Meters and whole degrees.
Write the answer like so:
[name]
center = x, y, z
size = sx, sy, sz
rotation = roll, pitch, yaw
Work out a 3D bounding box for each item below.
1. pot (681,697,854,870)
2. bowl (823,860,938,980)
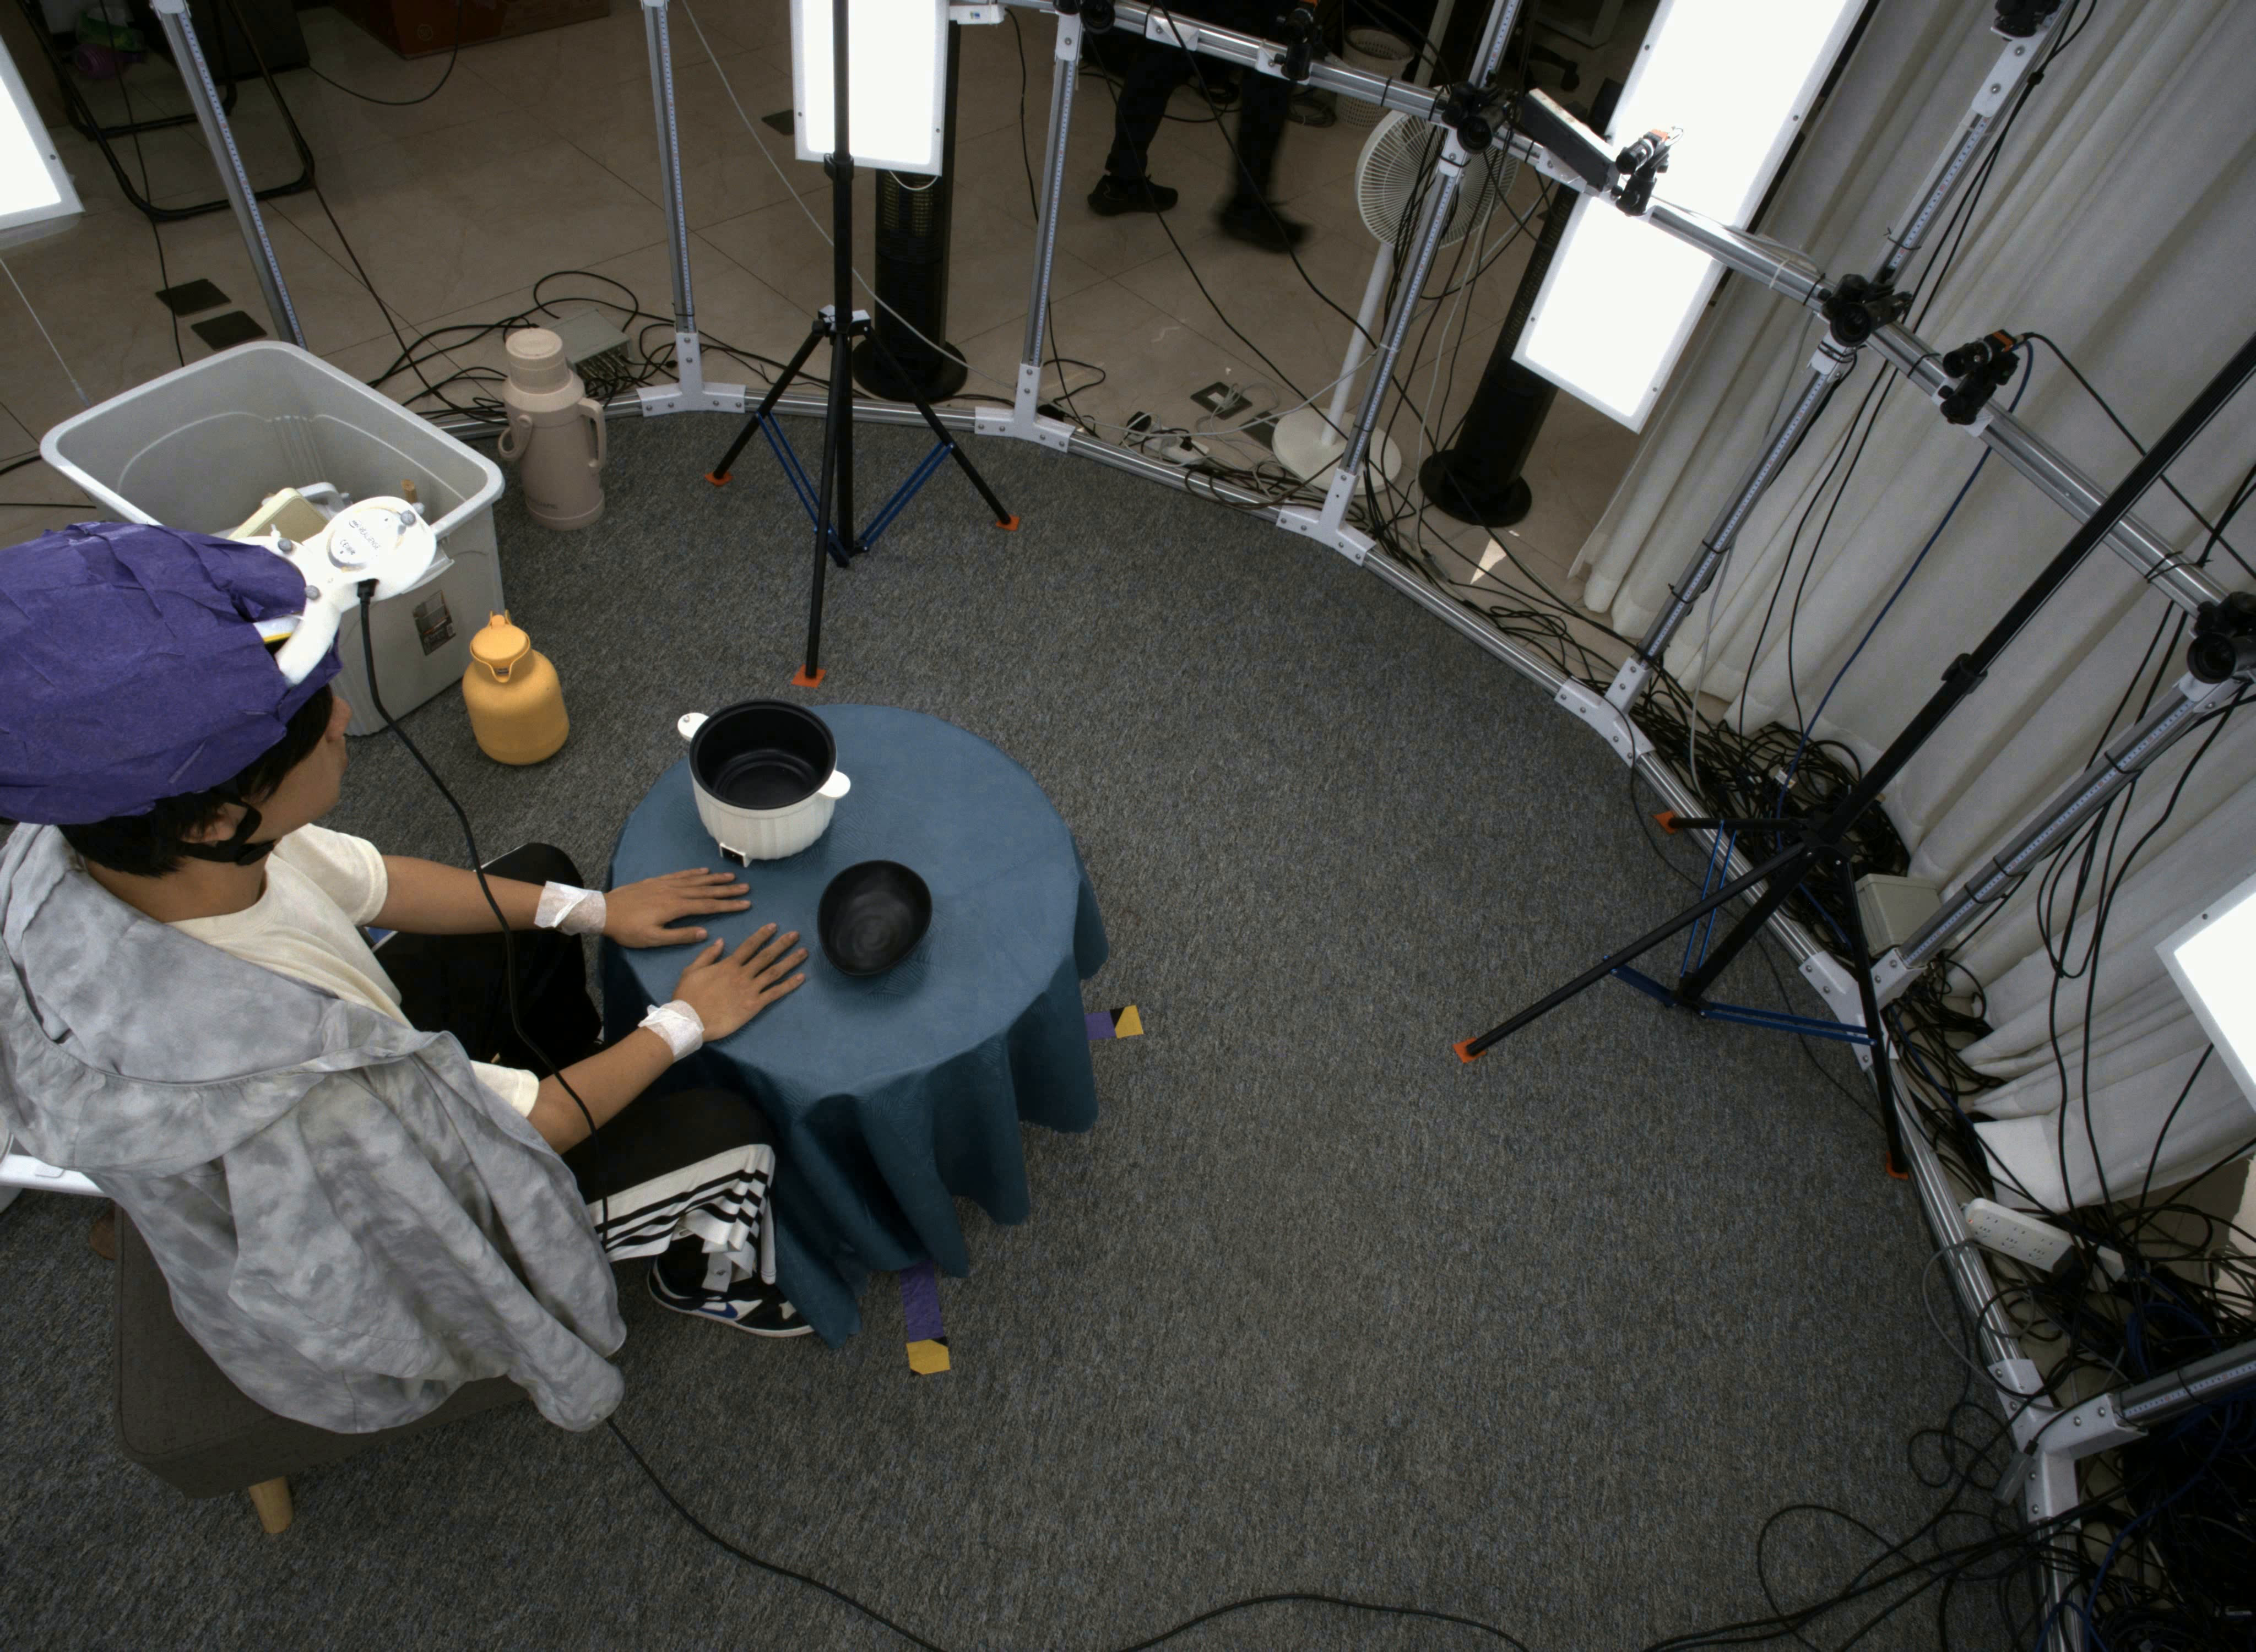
[pot]
center = -0.460, -0.057, 1.671
size = 0.237, 0.145, 0.189
rotation = 22, 55, 4
[bowl]
center = -0.308, 0.125, 1.621
size = 0.136, 0.068, 0.168
rotation = 14, 53, -1
